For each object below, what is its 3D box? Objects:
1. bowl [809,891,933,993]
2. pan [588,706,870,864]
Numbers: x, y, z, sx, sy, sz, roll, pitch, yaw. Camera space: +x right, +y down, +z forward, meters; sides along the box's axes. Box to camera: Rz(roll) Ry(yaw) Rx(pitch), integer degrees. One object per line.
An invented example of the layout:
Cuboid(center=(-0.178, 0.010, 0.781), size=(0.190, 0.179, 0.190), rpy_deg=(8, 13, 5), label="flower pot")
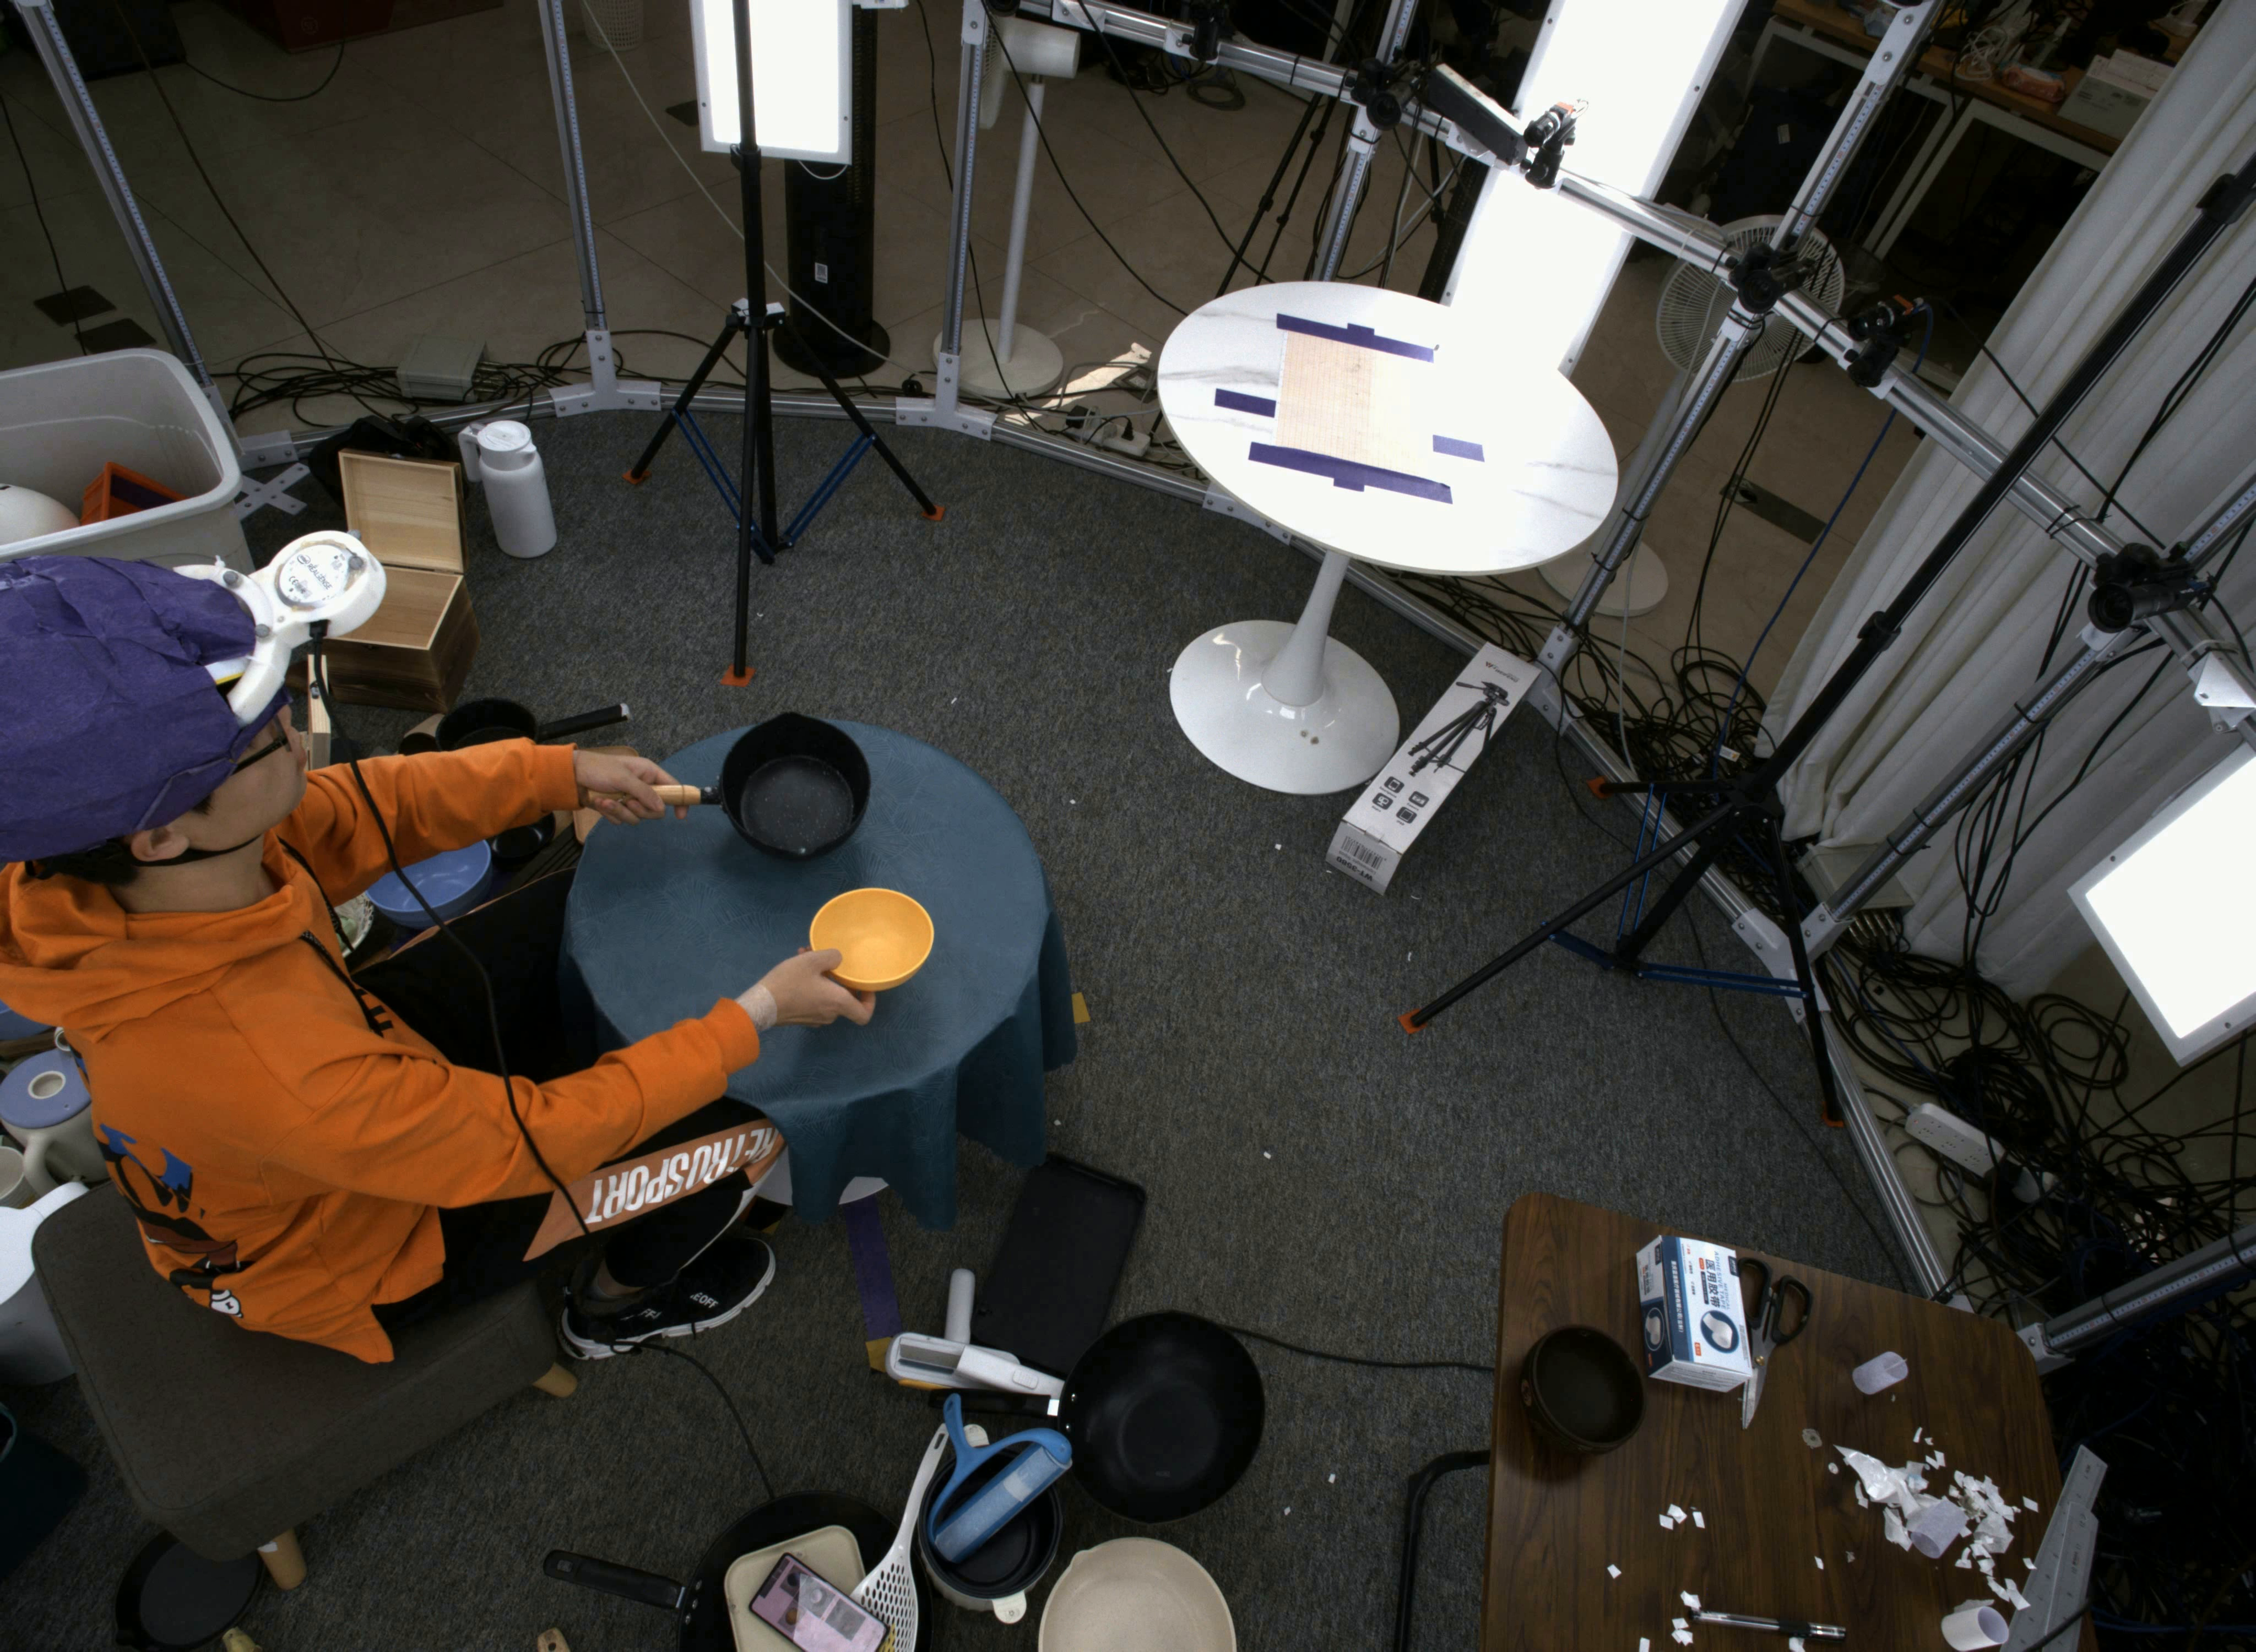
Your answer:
Cuboid(center=(-0.301, 0.146, 1.530), size=(0.144, 0.062, 0.142), rpy_deg=(6, 44, -4), label="bowl")
Cuboid(center=(-0.495, -0.036, 1.608), size=(0.344, 0.109, 0.205), rpy_deg=(-7, 71, -20), label="pan")
